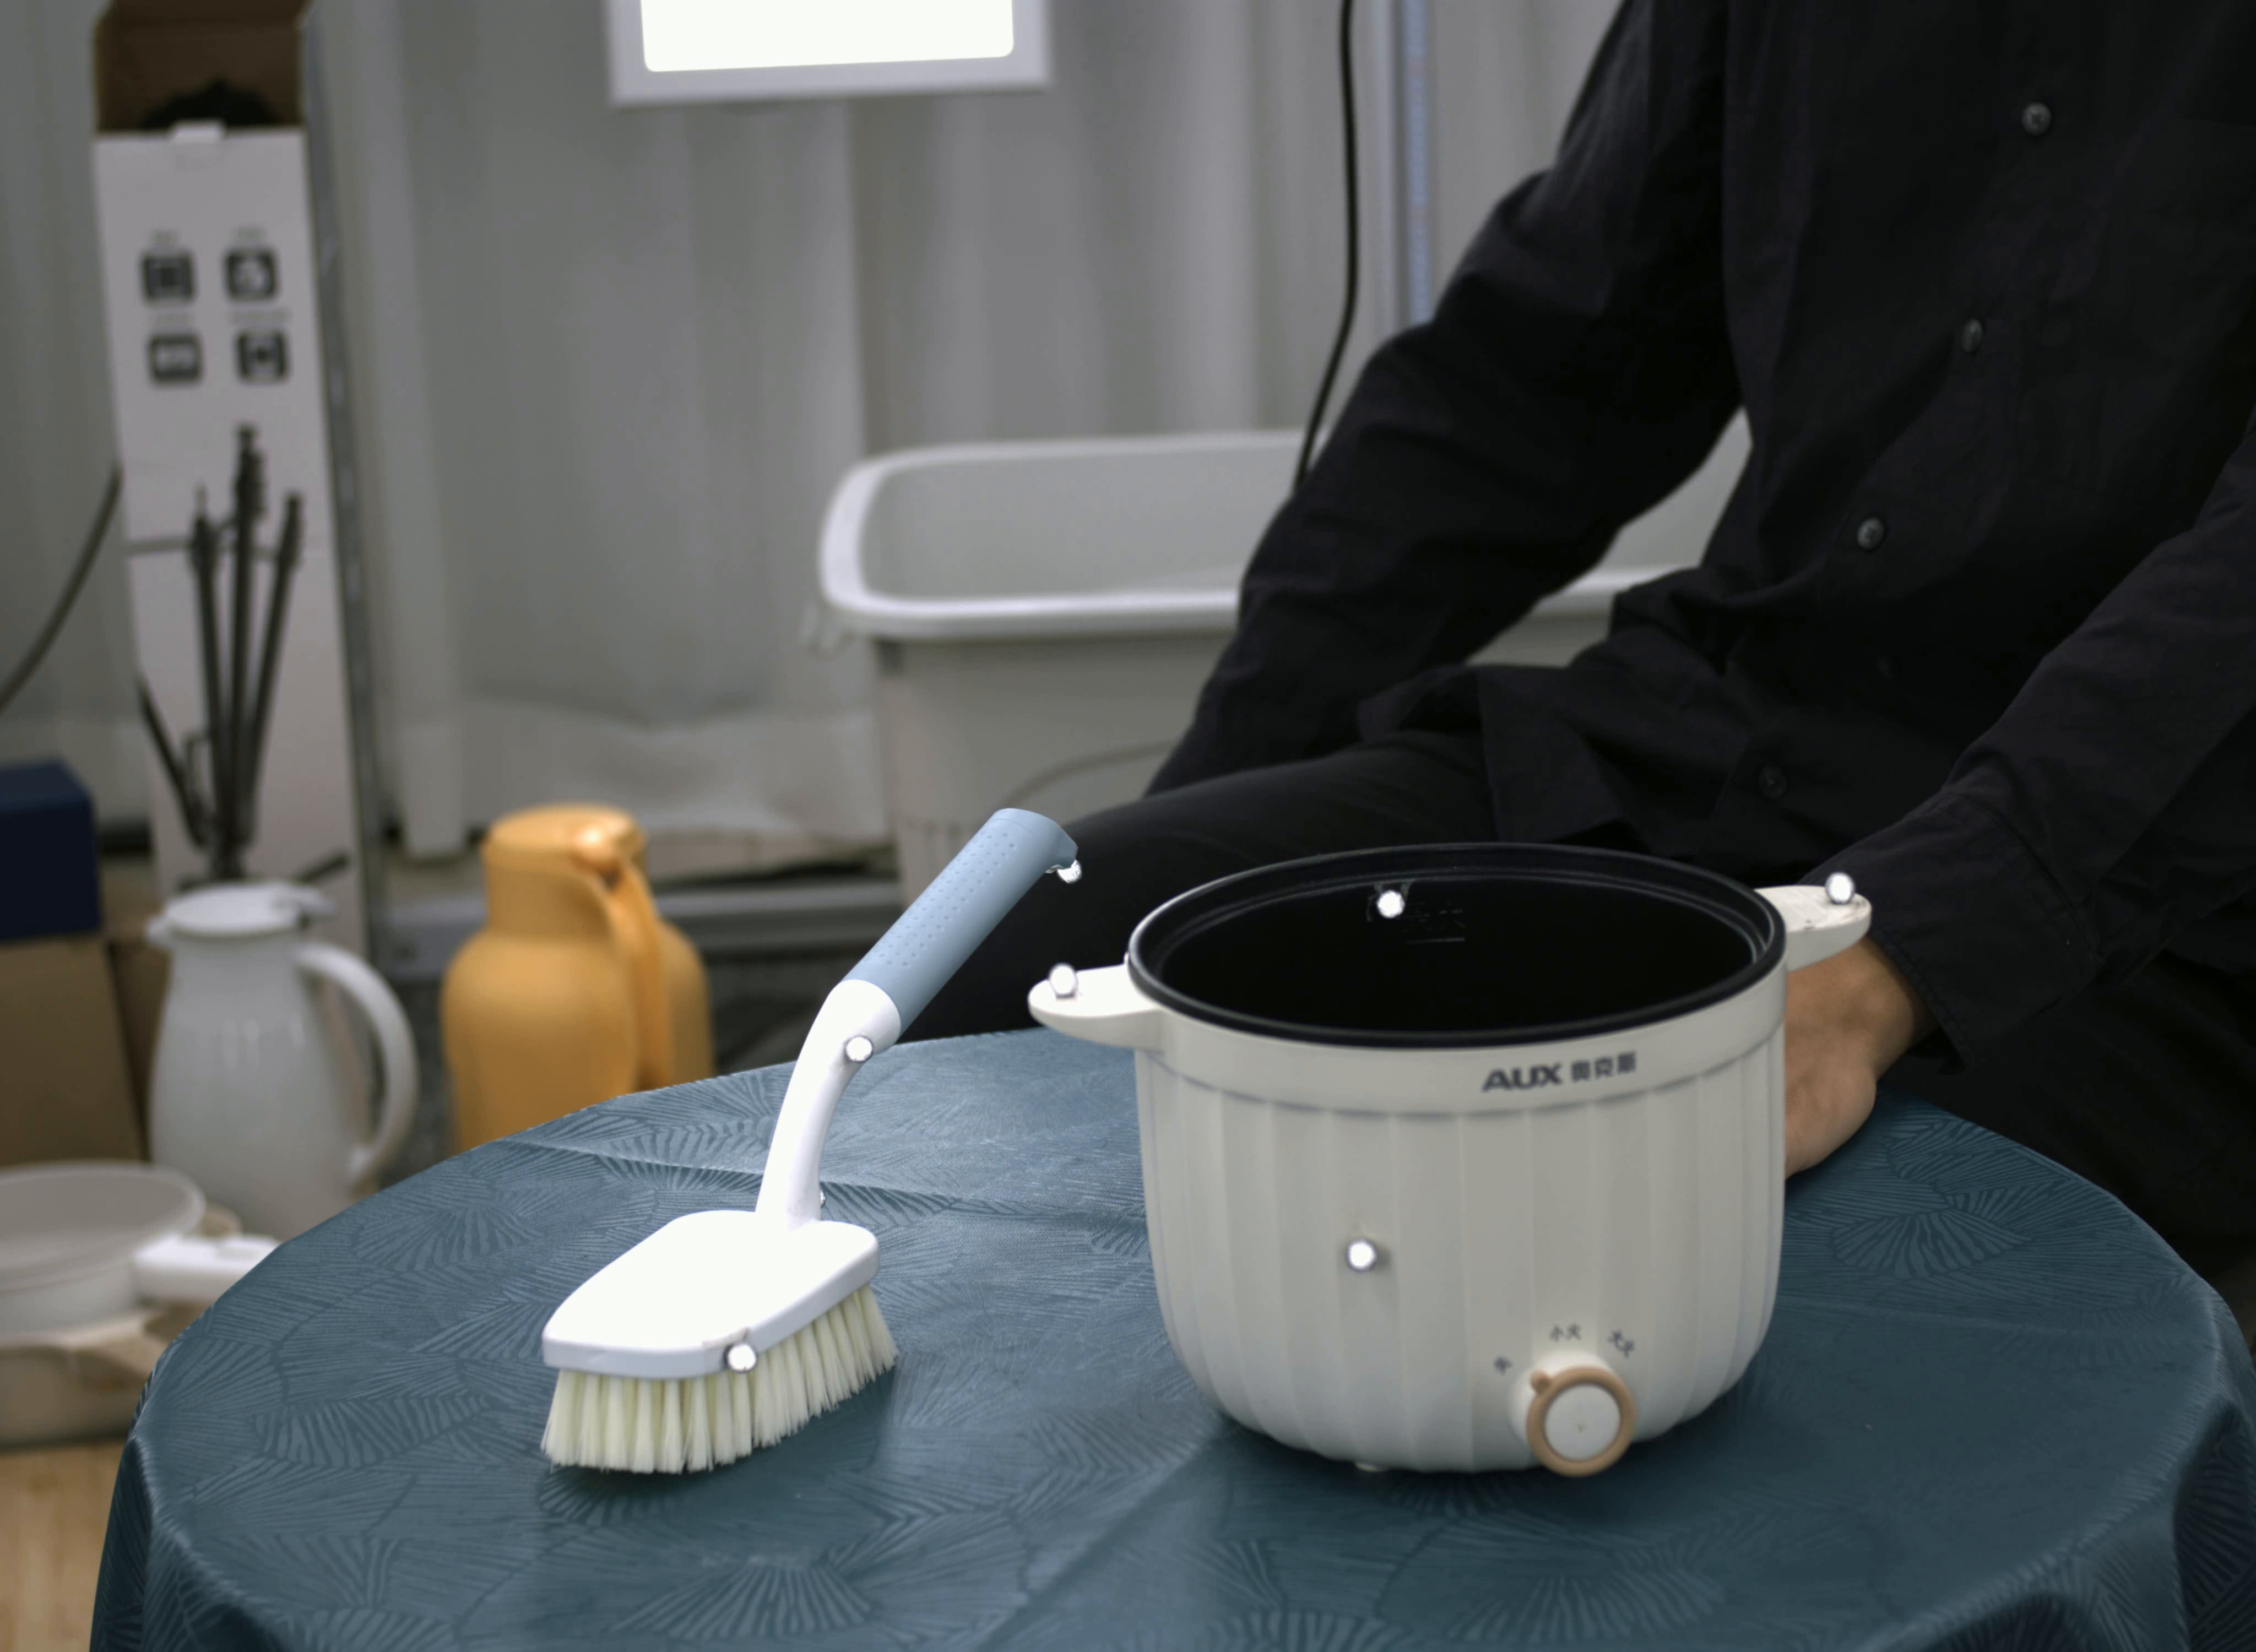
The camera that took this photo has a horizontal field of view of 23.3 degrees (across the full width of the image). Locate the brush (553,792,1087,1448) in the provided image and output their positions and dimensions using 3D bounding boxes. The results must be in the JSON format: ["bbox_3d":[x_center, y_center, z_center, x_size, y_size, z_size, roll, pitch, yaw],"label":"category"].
[{"bbox_3d":[-0.076,0.100,1.625,0.083,0.084,0.328,36,36,4],"label":"brush"}]

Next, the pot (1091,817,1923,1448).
[{"bbox_3d":[0.111,0.088,1.510,0.239,0.142,0.192,-8,13,-13],"label":"pot"}]
